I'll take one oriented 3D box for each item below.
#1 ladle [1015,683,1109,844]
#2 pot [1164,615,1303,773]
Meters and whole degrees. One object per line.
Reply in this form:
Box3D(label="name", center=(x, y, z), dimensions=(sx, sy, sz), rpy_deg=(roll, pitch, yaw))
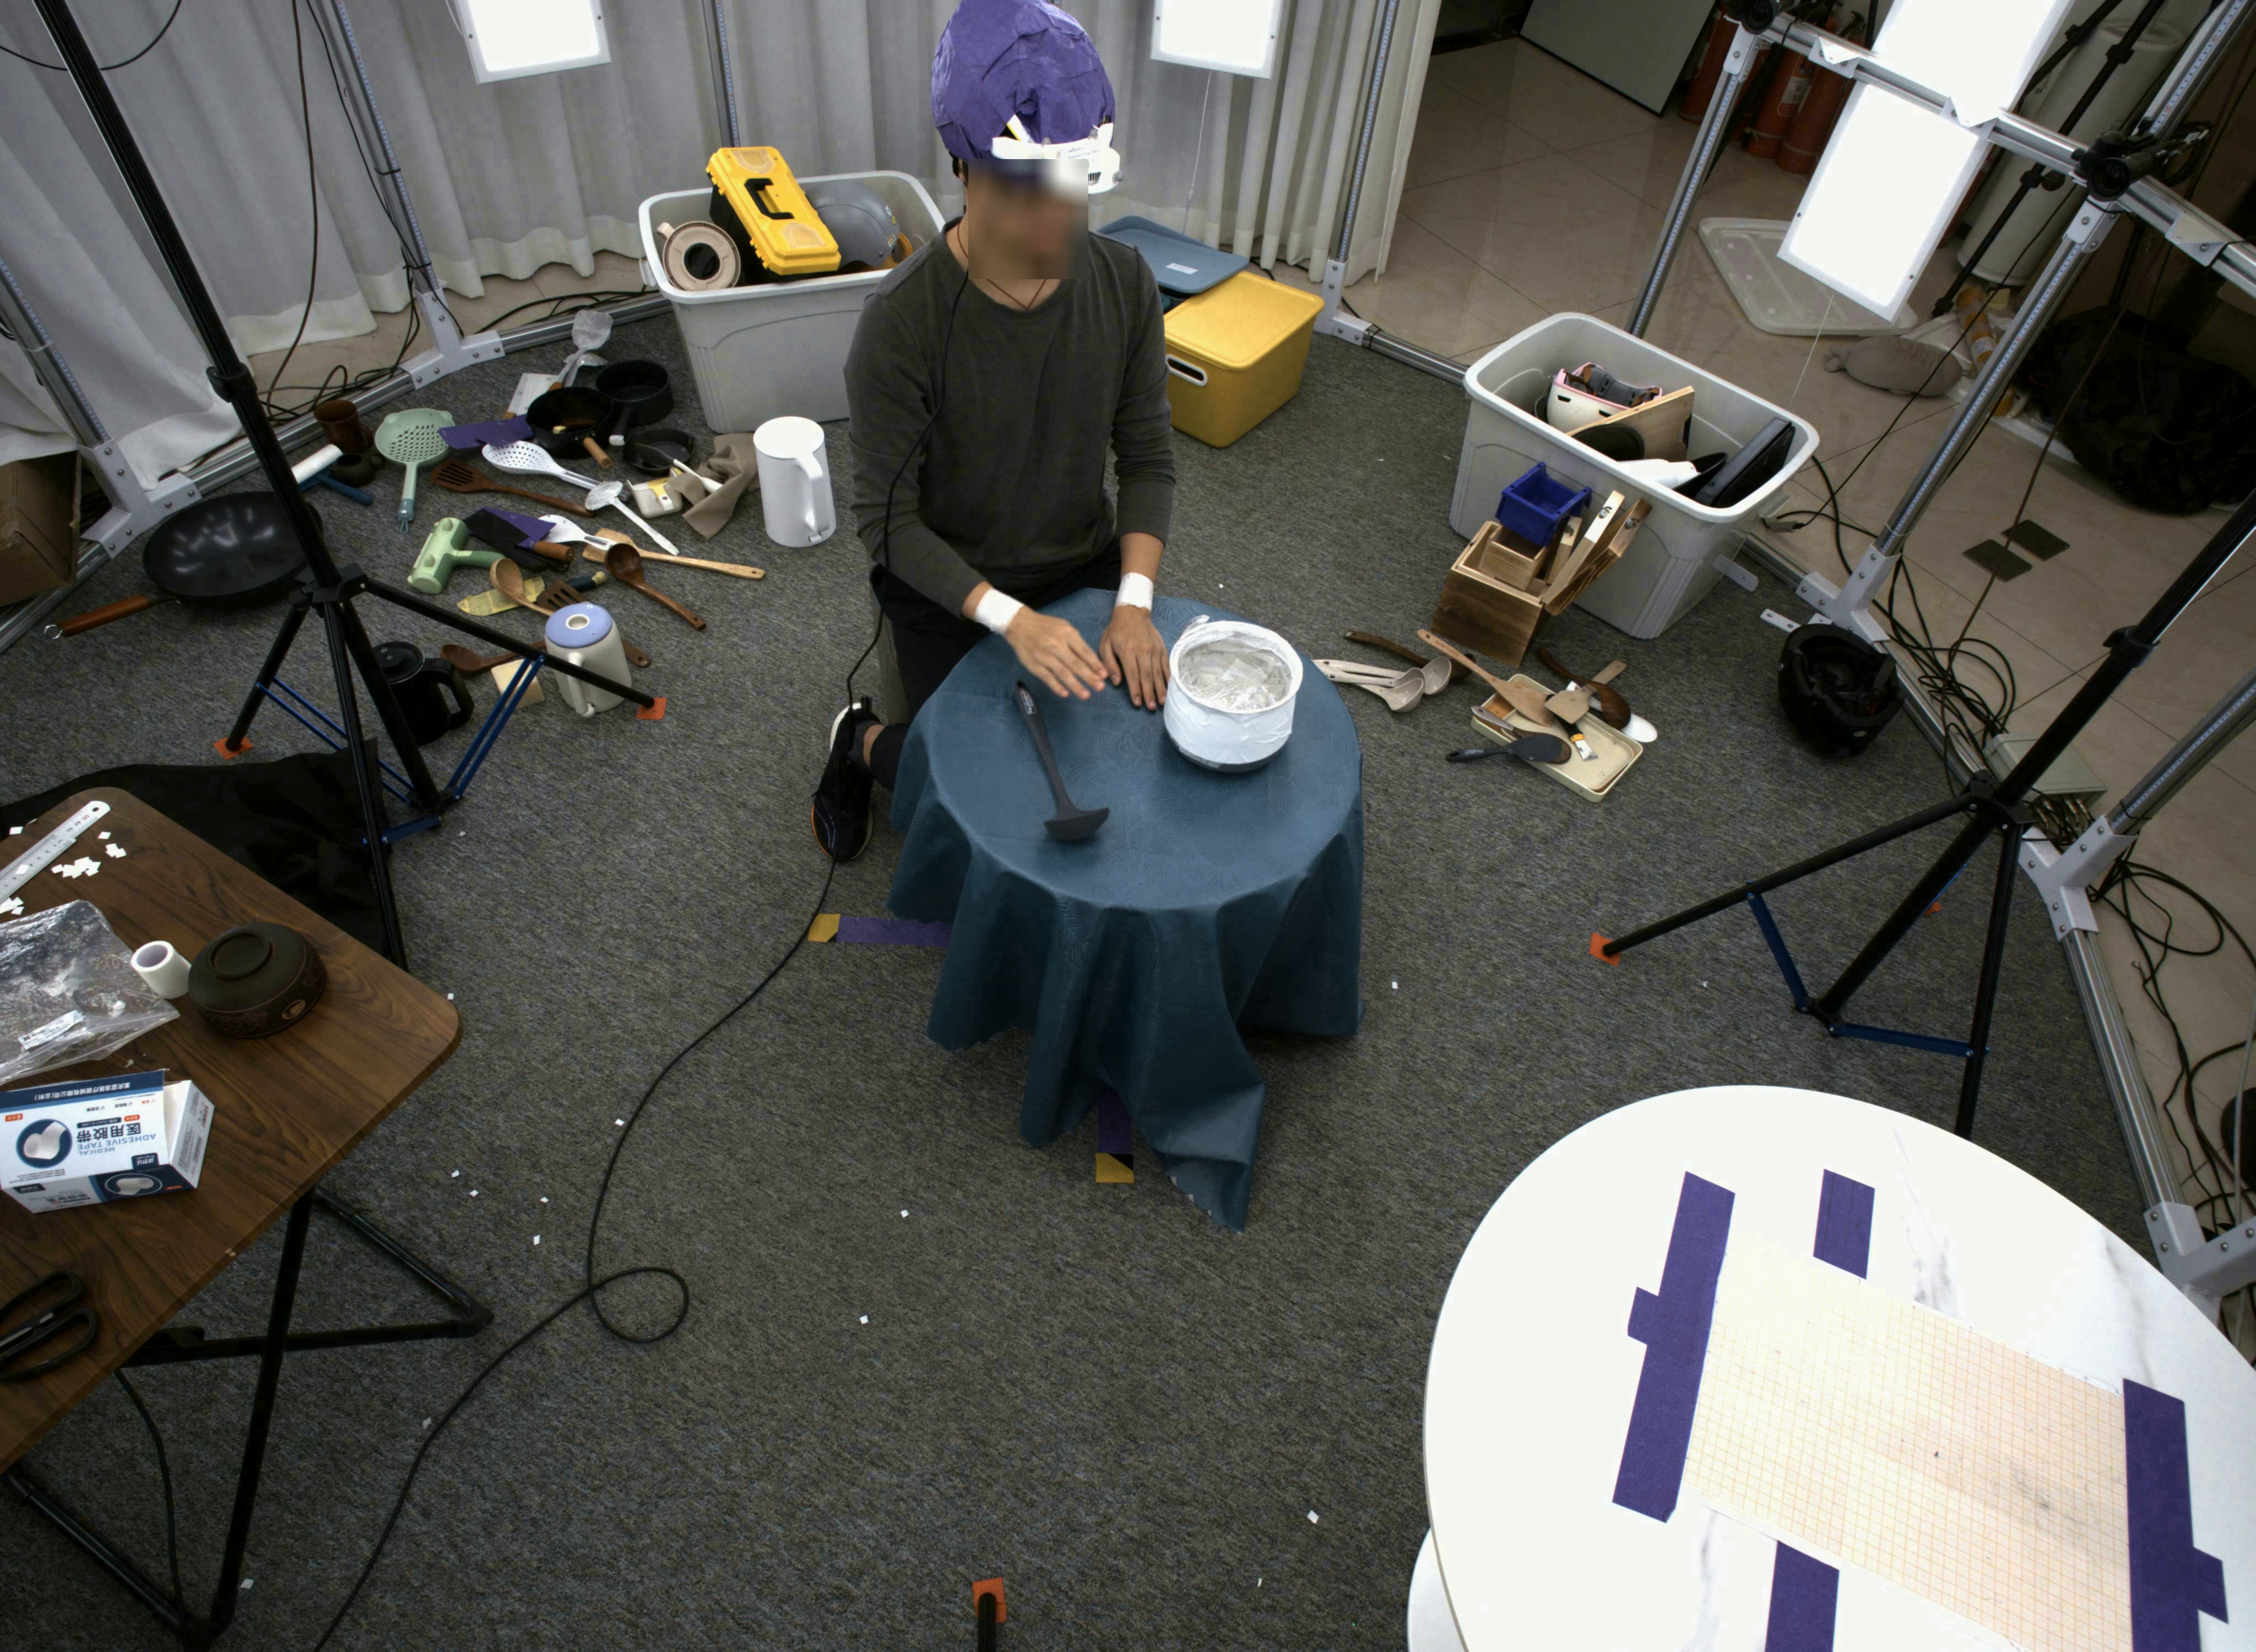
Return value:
Box3D(label="ladle", center=(-0.105, -0.099, 1.706), dimensions=(0.086, 0.062, 0.322), rpy_deg=(-9, 50, -16))
Box3D(label="pot", center=(0.127, -0.190, 1.753), dimensions=(0.179, 0.133, 0.239), rpy_deg=(-17, 52, -18))
